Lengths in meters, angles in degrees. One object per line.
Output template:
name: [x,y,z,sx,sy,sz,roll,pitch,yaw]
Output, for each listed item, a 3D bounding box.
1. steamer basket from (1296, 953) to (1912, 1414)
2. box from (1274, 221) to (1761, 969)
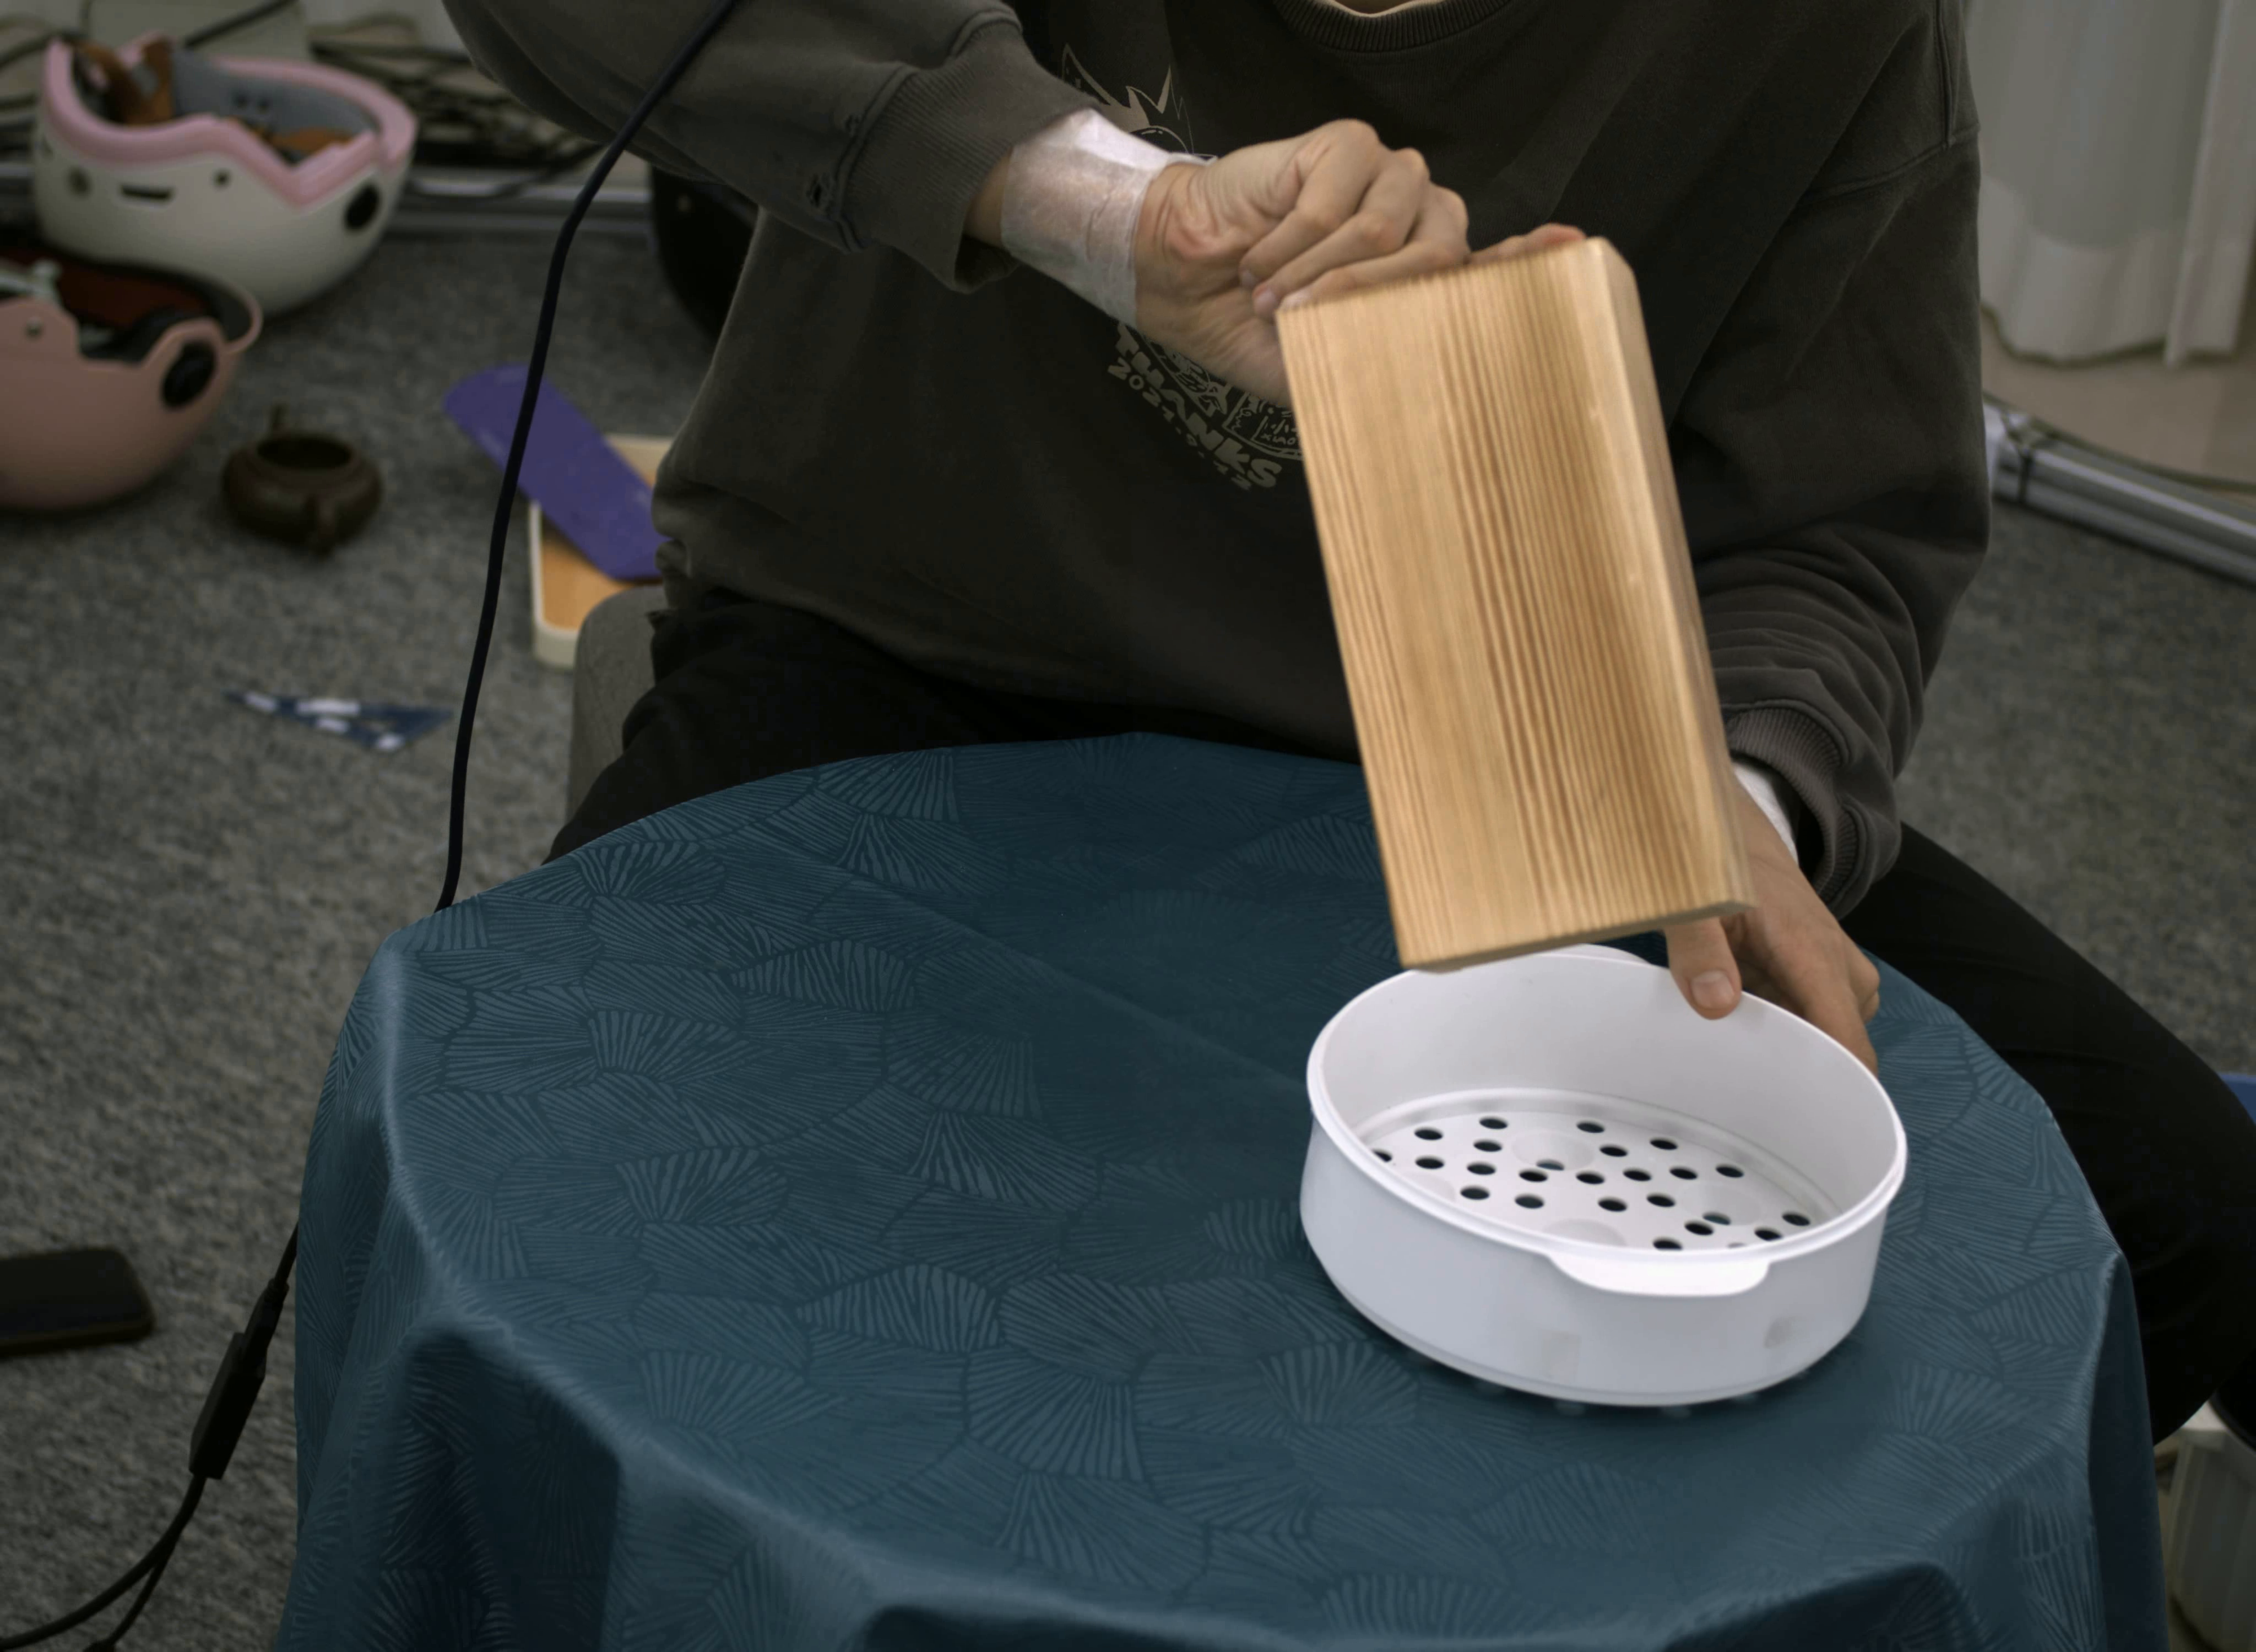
steamer basket: [0.156,0.120,1.770,0.201,0.069,0.232,3,26,-7]
box: [0.123,-0.071,1.674,0.107,0.212,0.080,-12,-8,11]
